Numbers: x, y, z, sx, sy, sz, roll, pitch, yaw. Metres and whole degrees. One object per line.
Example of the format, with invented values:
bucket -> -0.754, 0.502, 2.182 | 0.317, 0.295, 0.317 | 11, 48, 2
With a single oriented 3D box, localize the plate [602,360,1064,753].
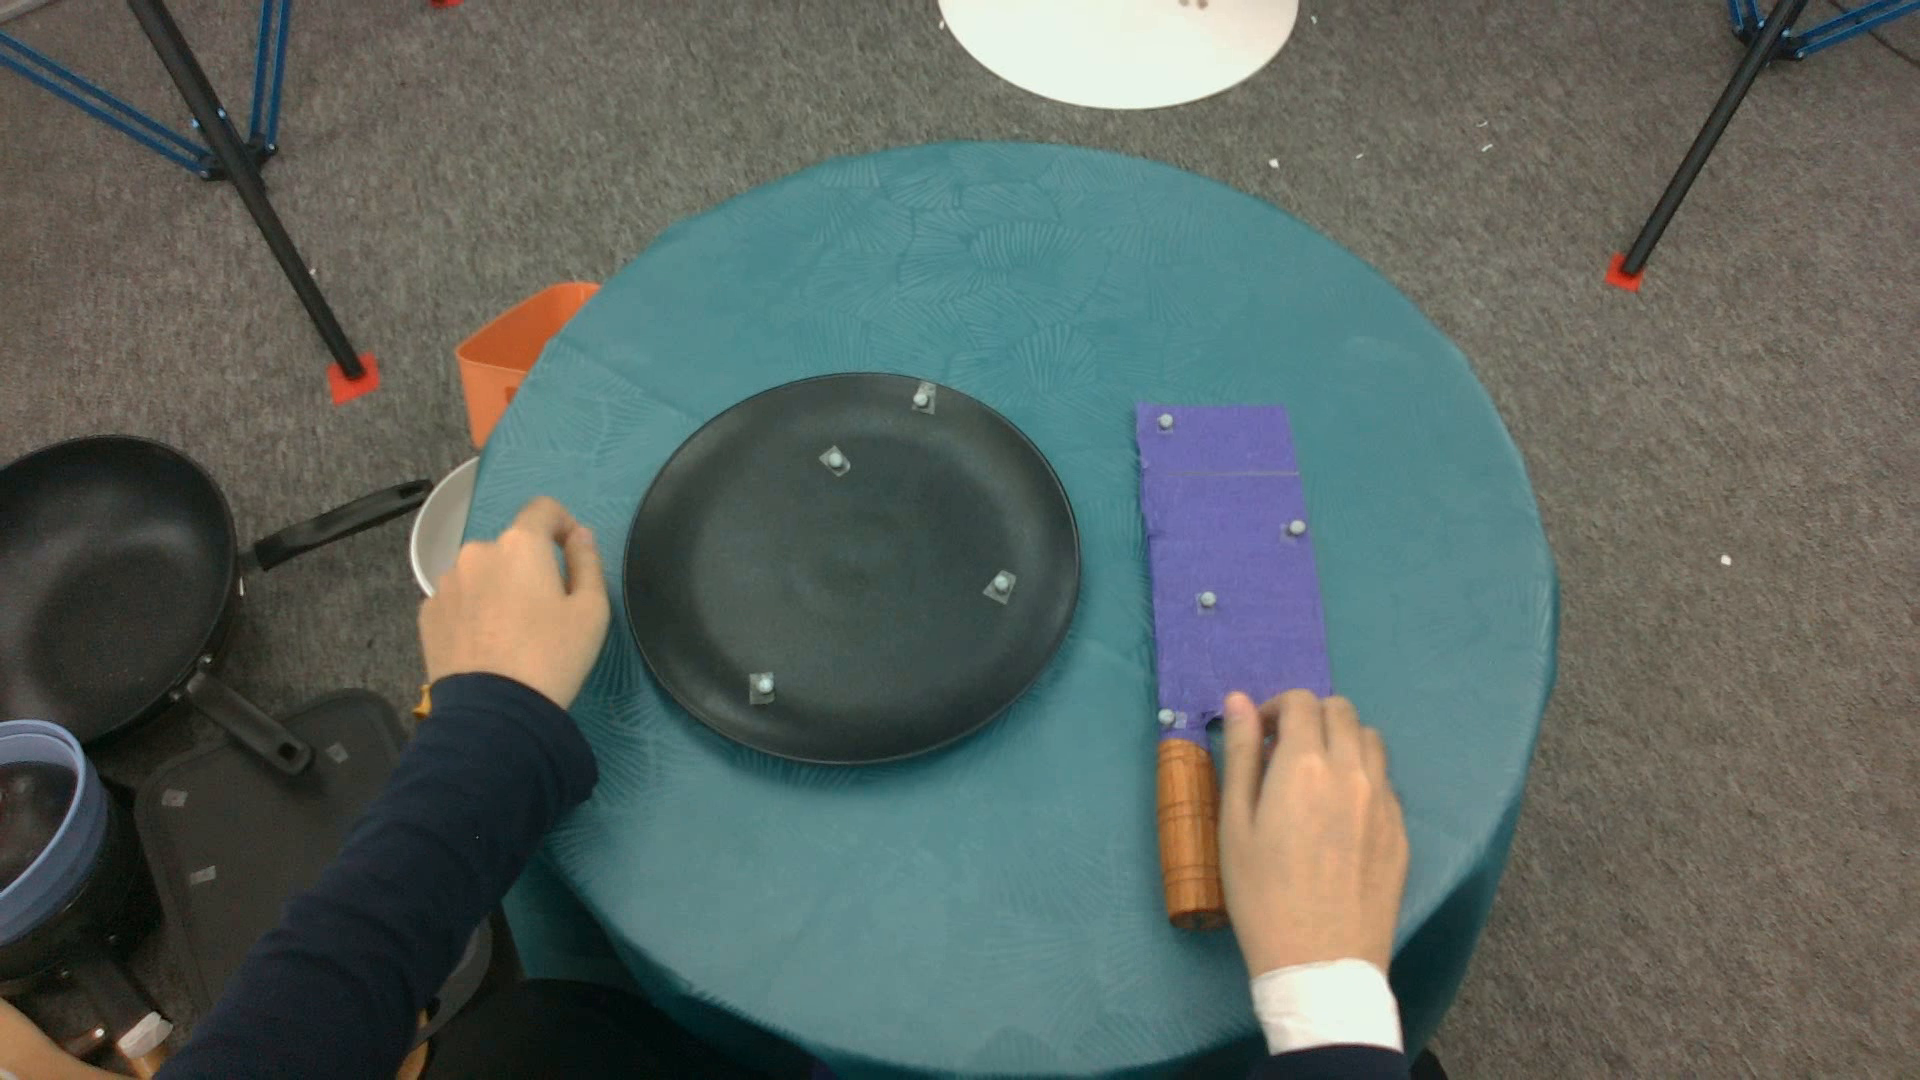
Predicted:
plate -> -0.066, 0.005, 0.737 | 0.244, 0.023, 0.245 | 1, 58, -1

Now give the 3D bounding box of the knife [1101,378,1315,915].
knife -> 0.135, 0.037, 0.721 | 0.104, 0.032, 0.316 | 0, 58, -1
